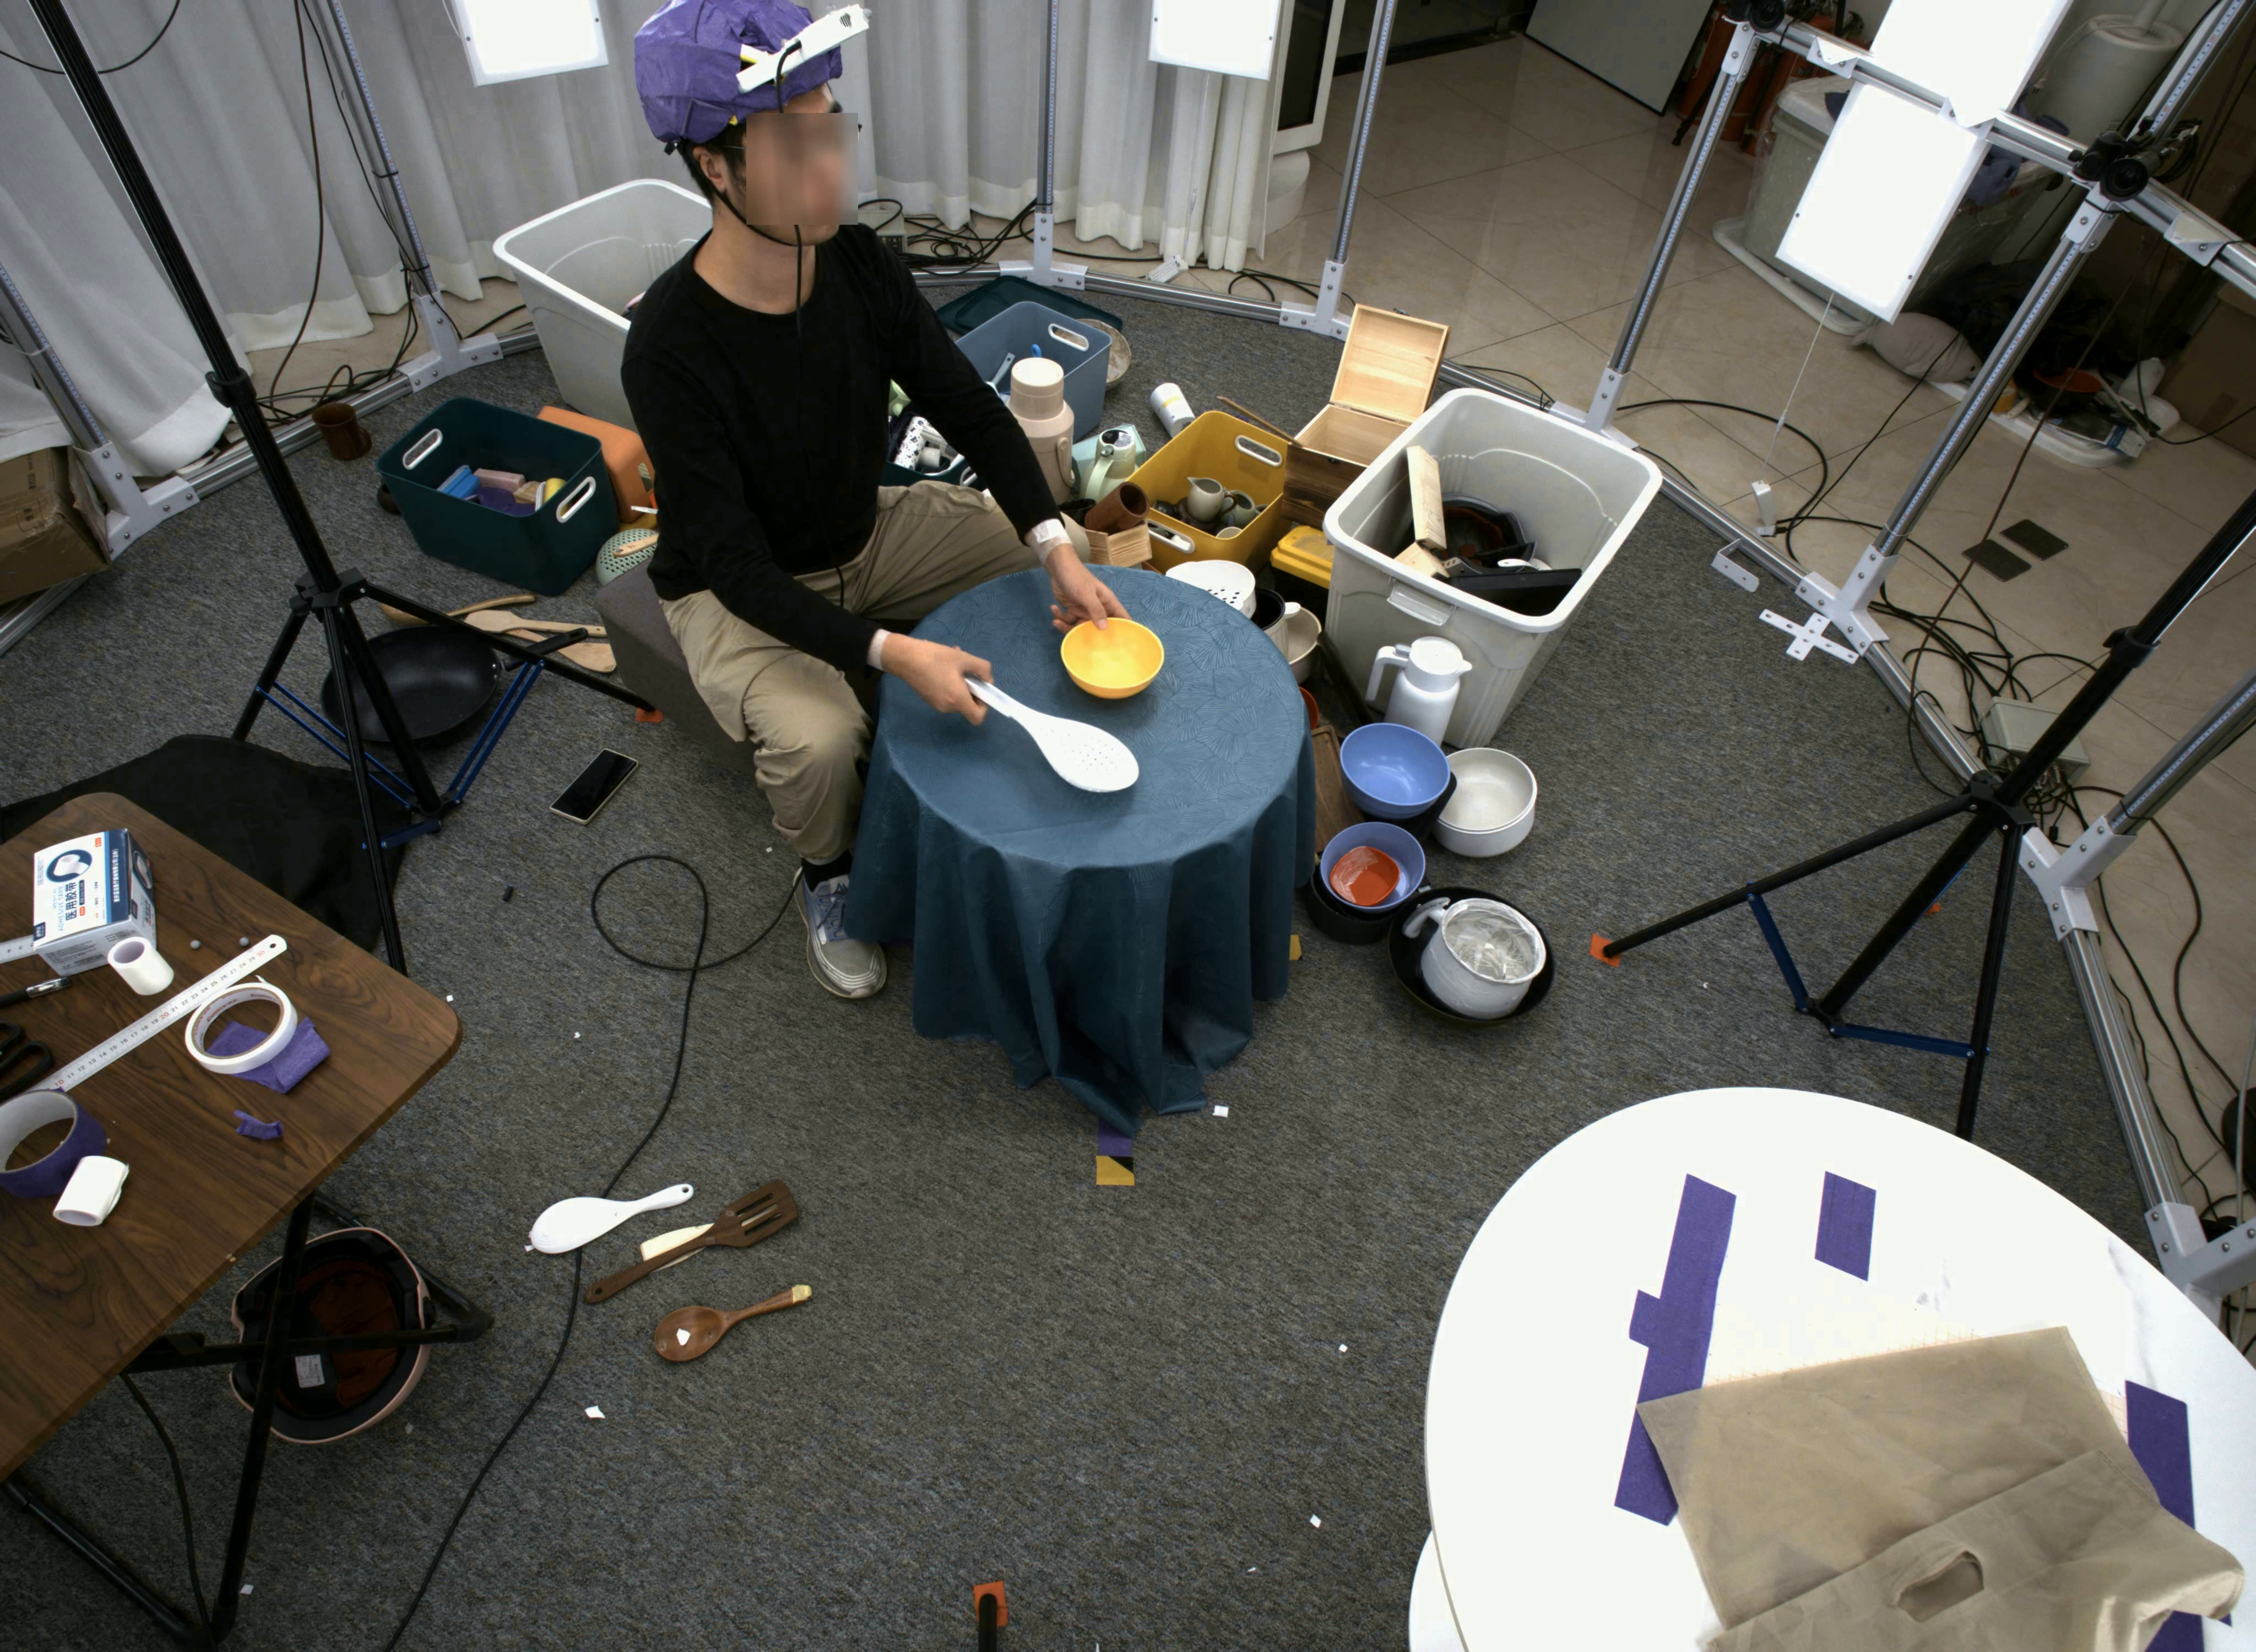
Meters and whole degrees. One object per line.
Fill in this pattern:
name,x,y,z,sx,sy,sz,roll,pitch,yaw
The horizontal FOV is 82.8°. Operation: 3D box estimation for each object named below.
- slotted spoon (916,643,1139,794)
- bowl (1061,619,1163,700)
slotted spoon,-0.139,-0.145,1.716,0.351,0.045,0.138,37,36,9
bowl,-0.025,-0.225,1.827,0.145,0.058,0.149,3,48,-4
